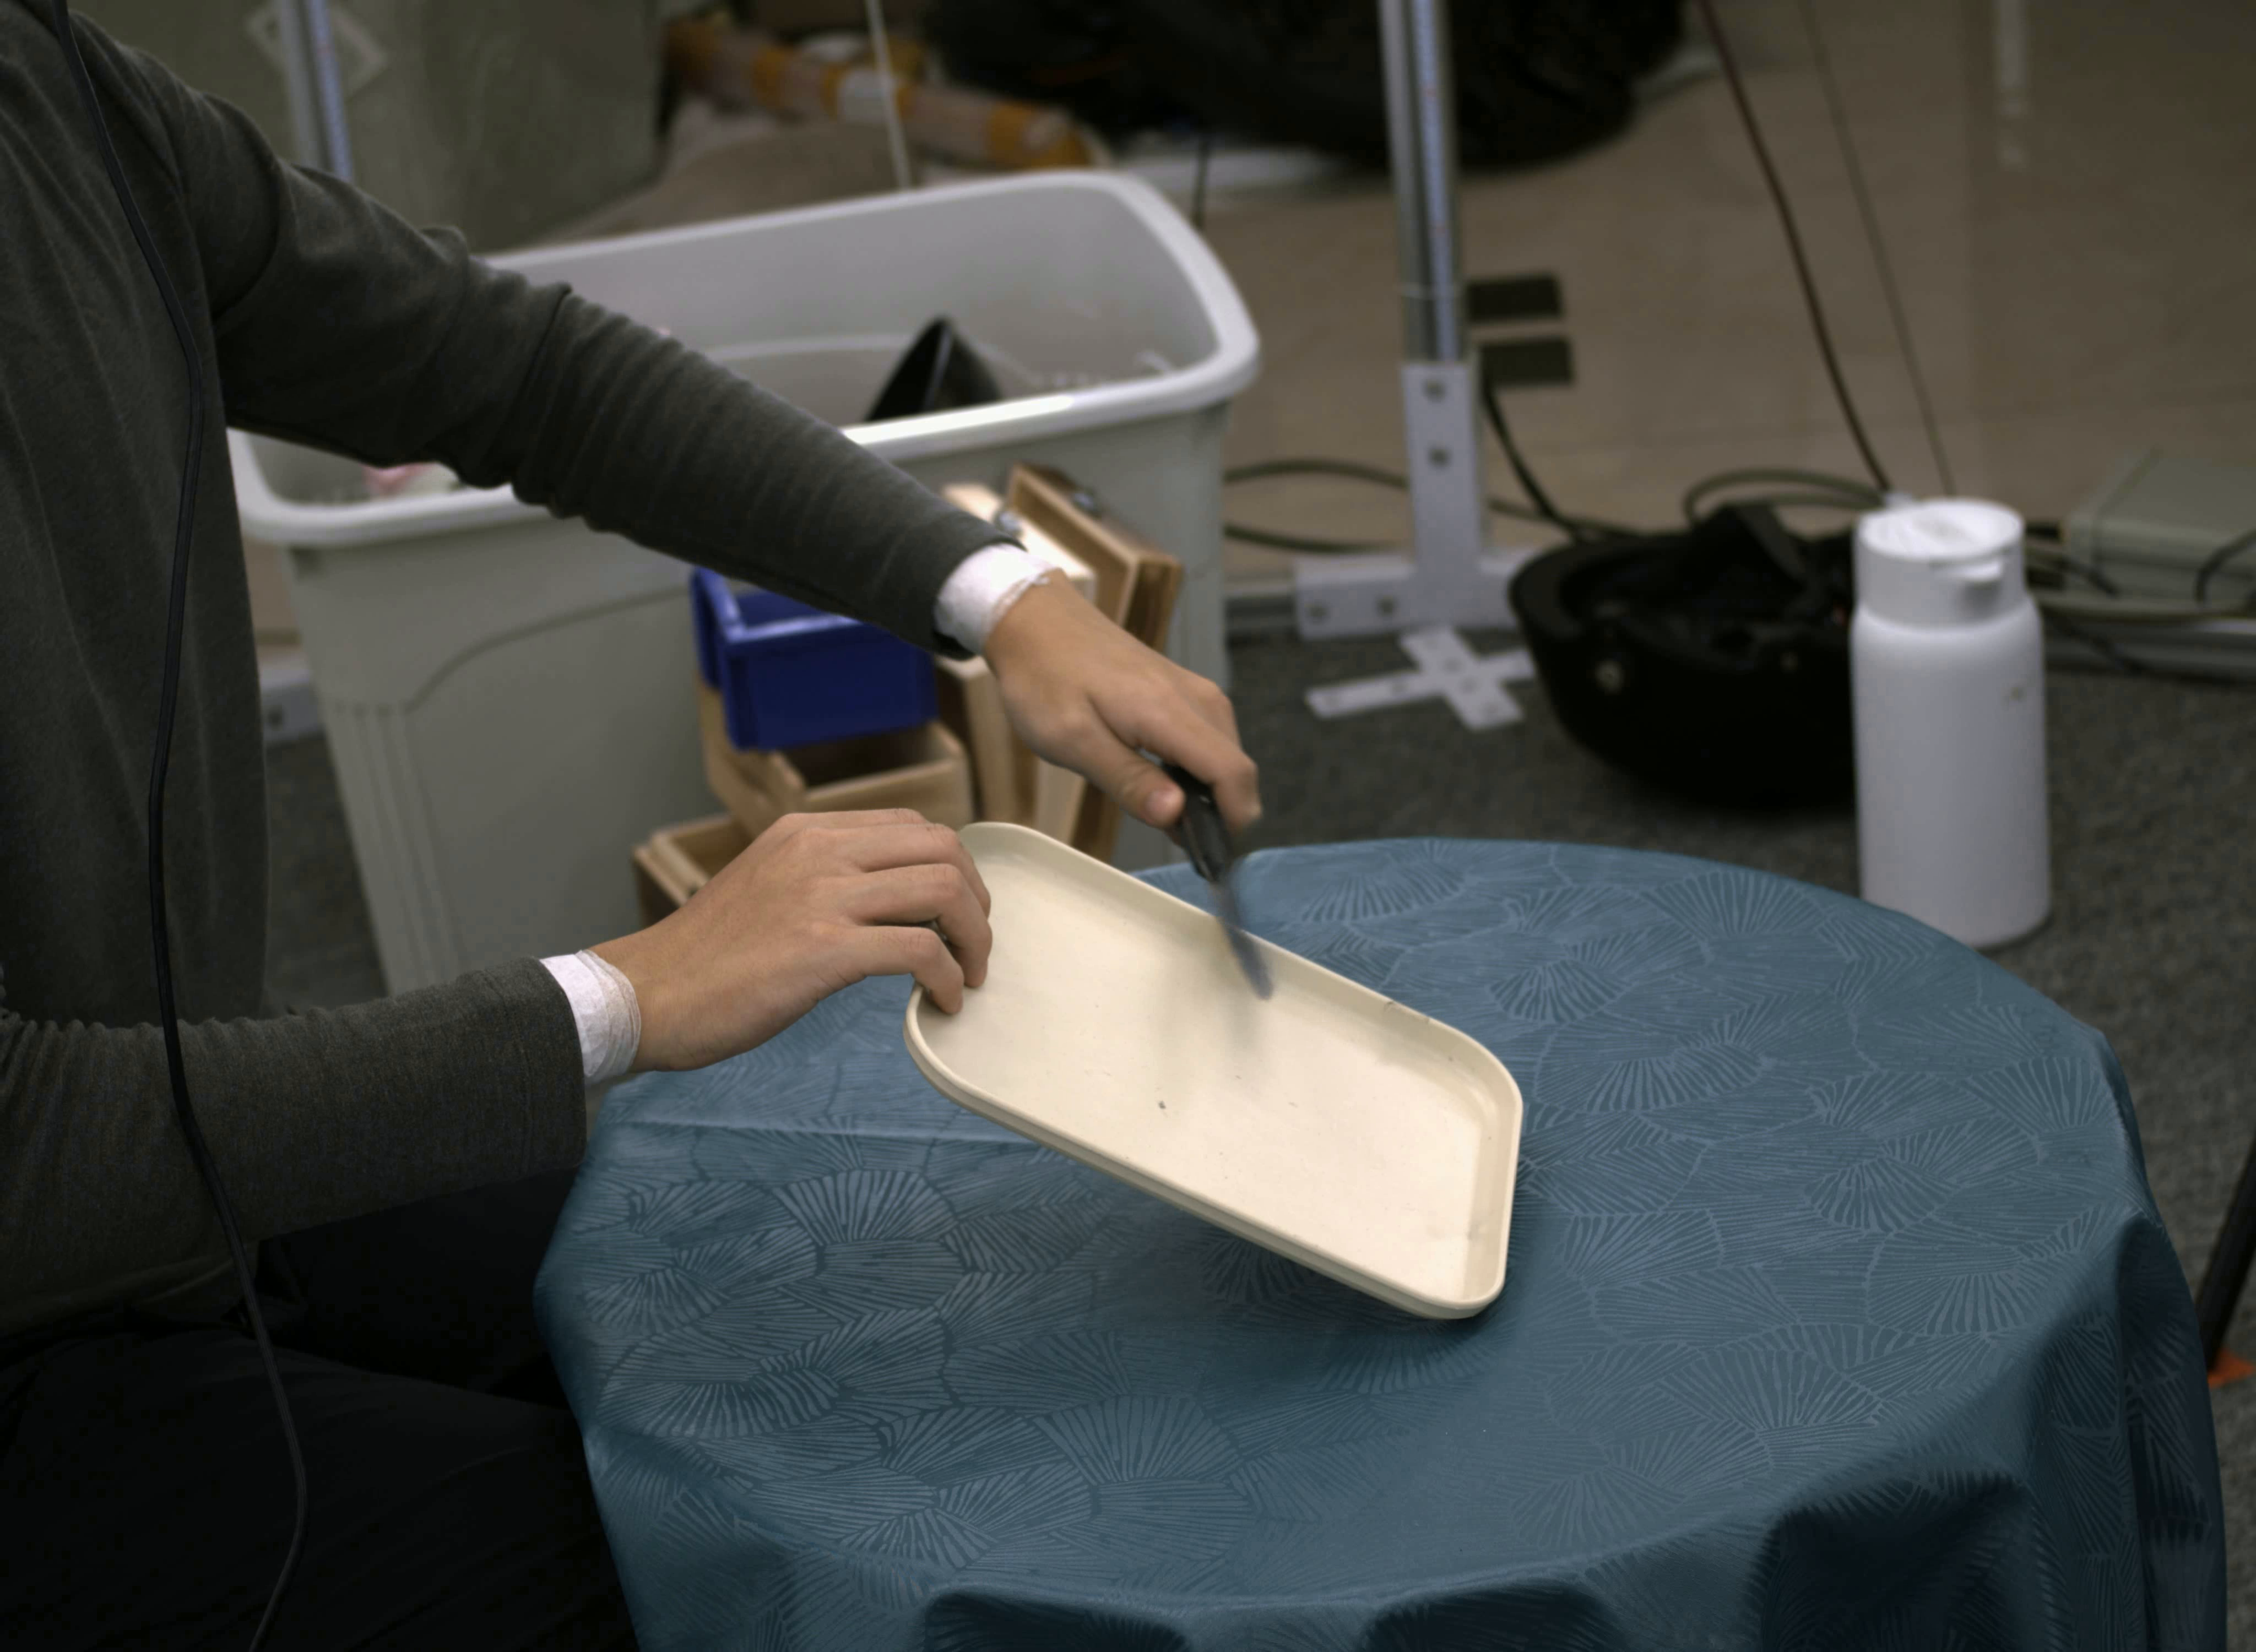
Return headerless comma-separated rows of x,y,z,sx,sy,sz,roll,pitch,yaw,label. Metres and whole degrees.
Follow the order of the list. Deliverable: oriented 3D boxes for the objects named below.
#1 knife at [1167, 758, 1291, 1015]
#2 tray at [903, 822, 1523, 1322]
0.039,0.022,2.174,0.024,0.016,0.235,30,15,-19,knife
0.032,0.091,2.075,0.240,0.018,0.168,26,34,-9,tray
